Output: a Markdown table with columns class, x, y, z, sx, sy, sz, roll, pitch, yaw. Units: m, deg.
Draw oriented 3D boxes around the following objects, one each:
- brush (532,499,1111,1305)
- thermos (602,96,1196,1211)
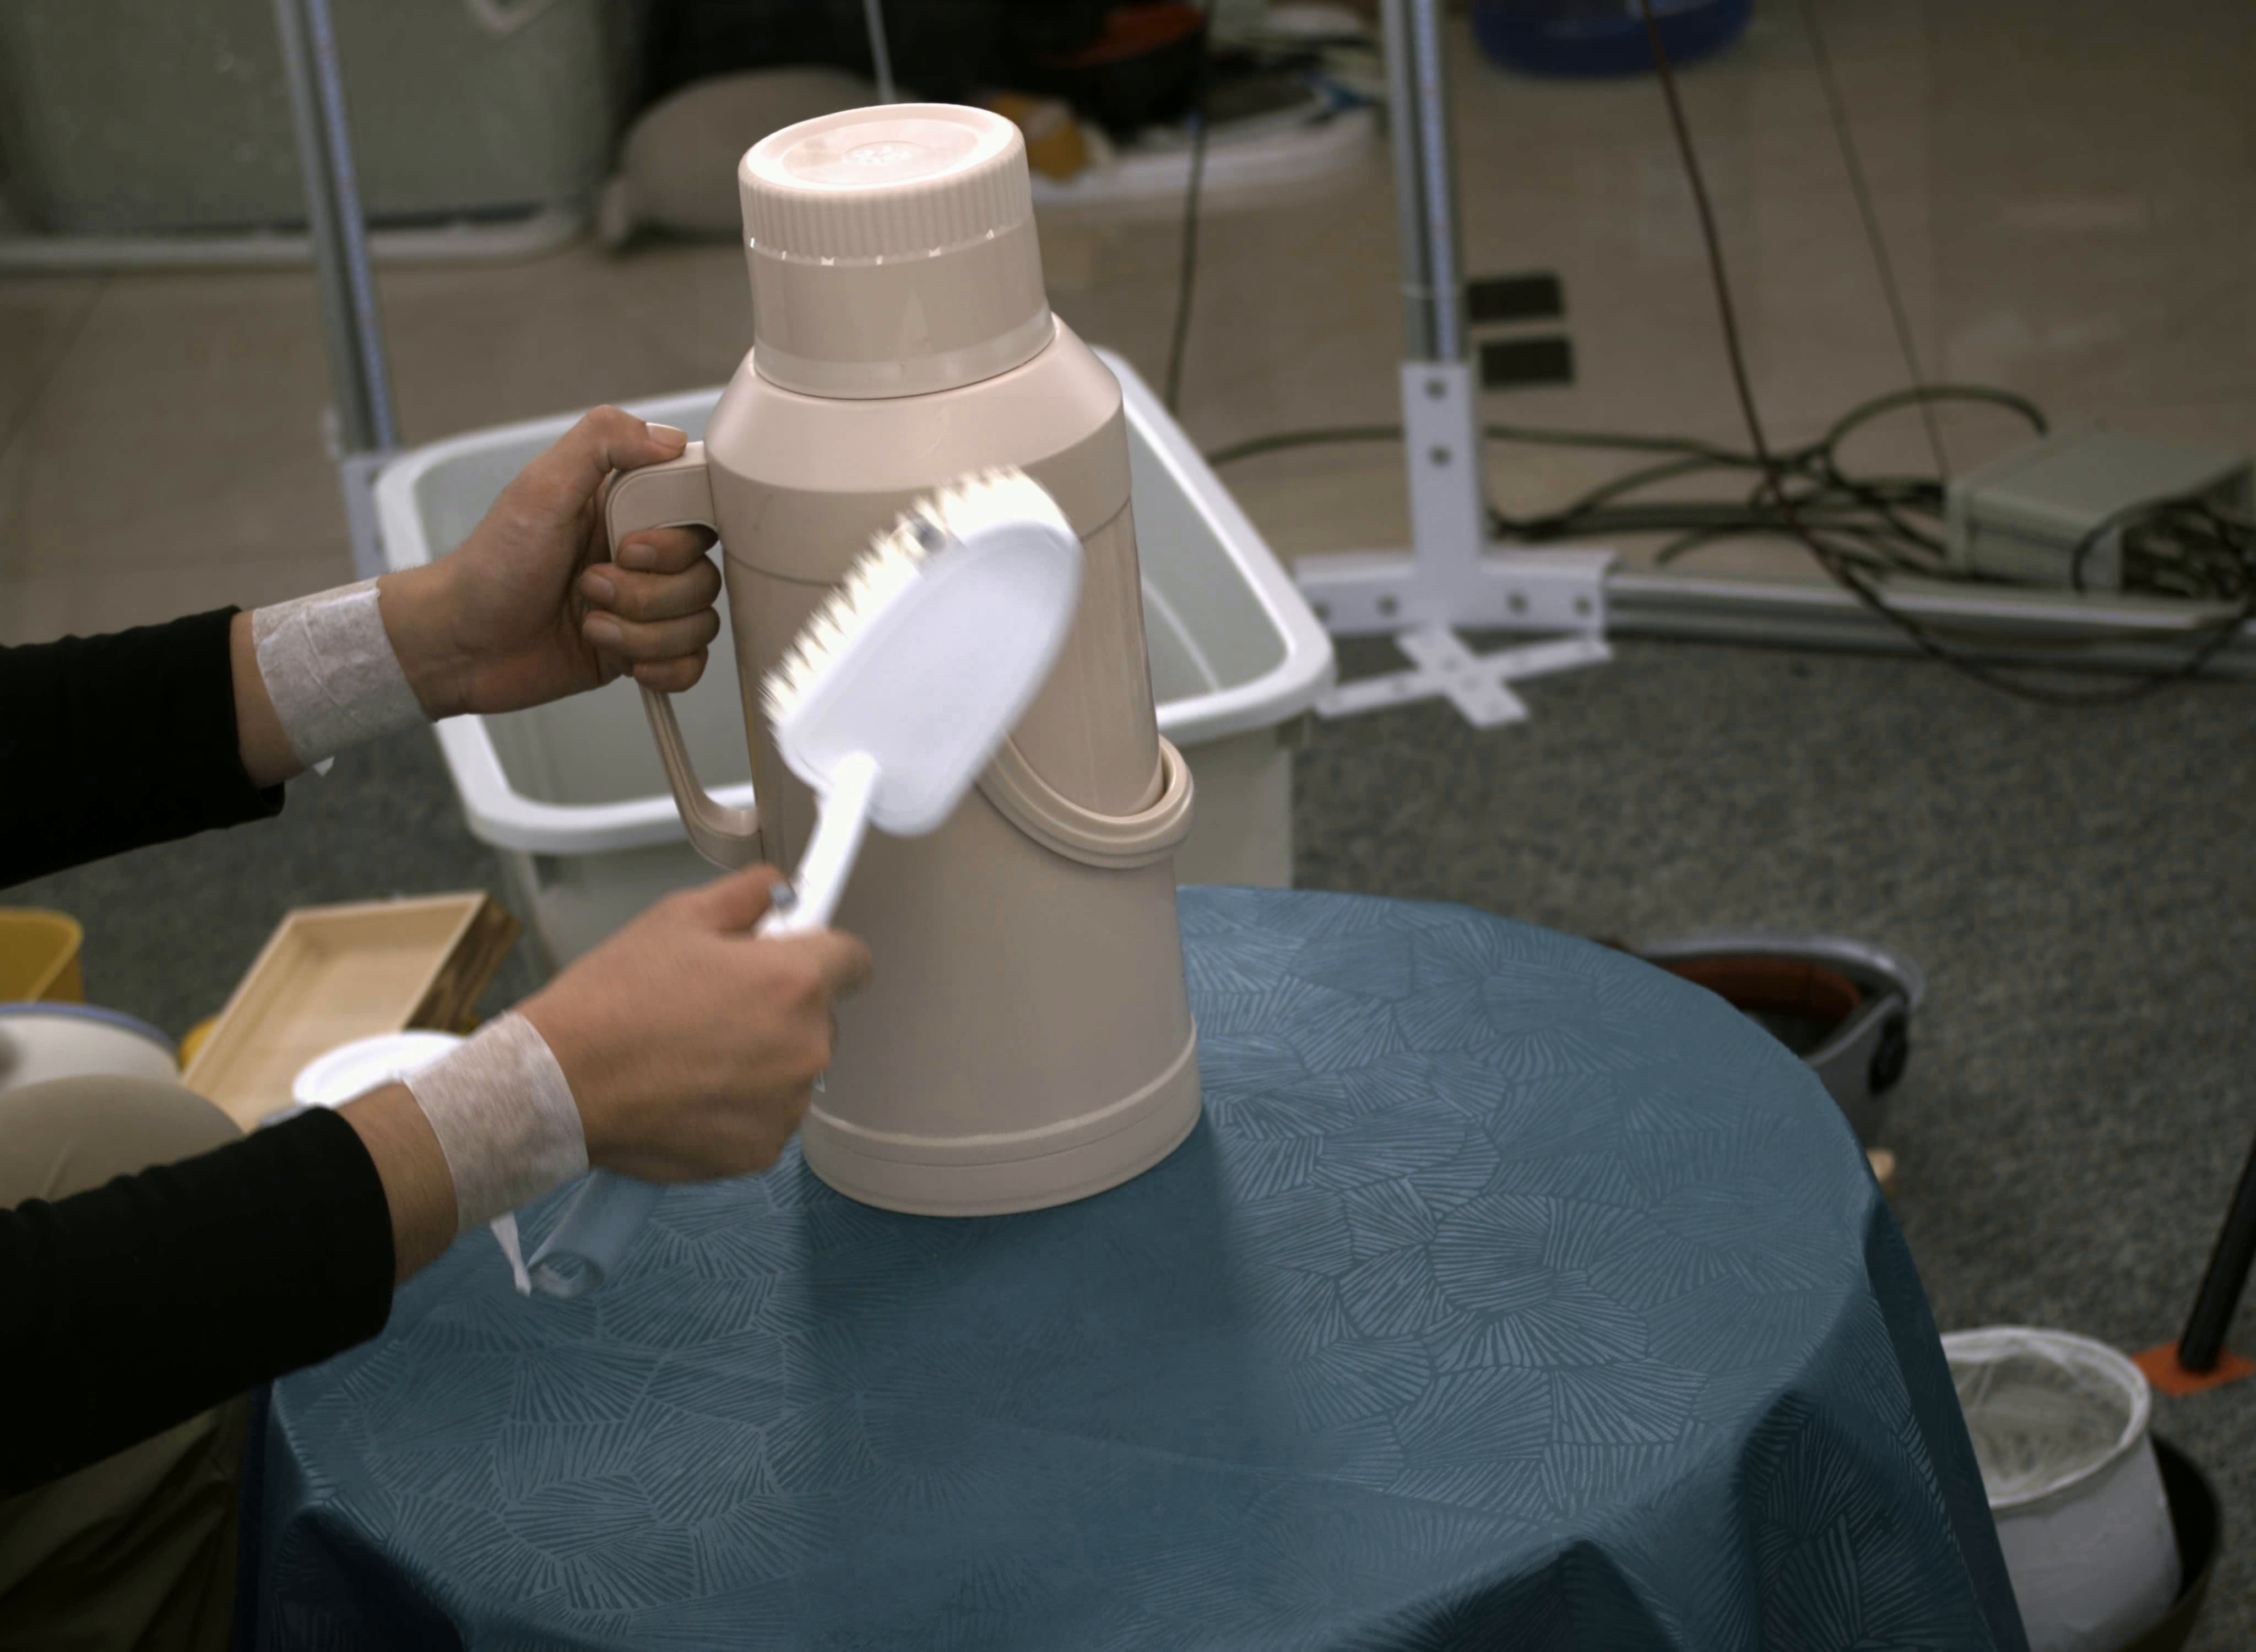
| class | x | y | z | sx | sy | sz | roll | pitch | yaw |
| --- | --- | --- | --- | --- | --- | --- | --- | --- | --- |
| brush | -0.115 | 0.021 | 1.964 | 0.082 | 0.326 | 0.085 | 36 | 2 | 18 |
| thermos | -0.085 | -0.064 | 2.127 | 0.206 | 0.413 | 0.172 | -7 | 27 | -1 |
